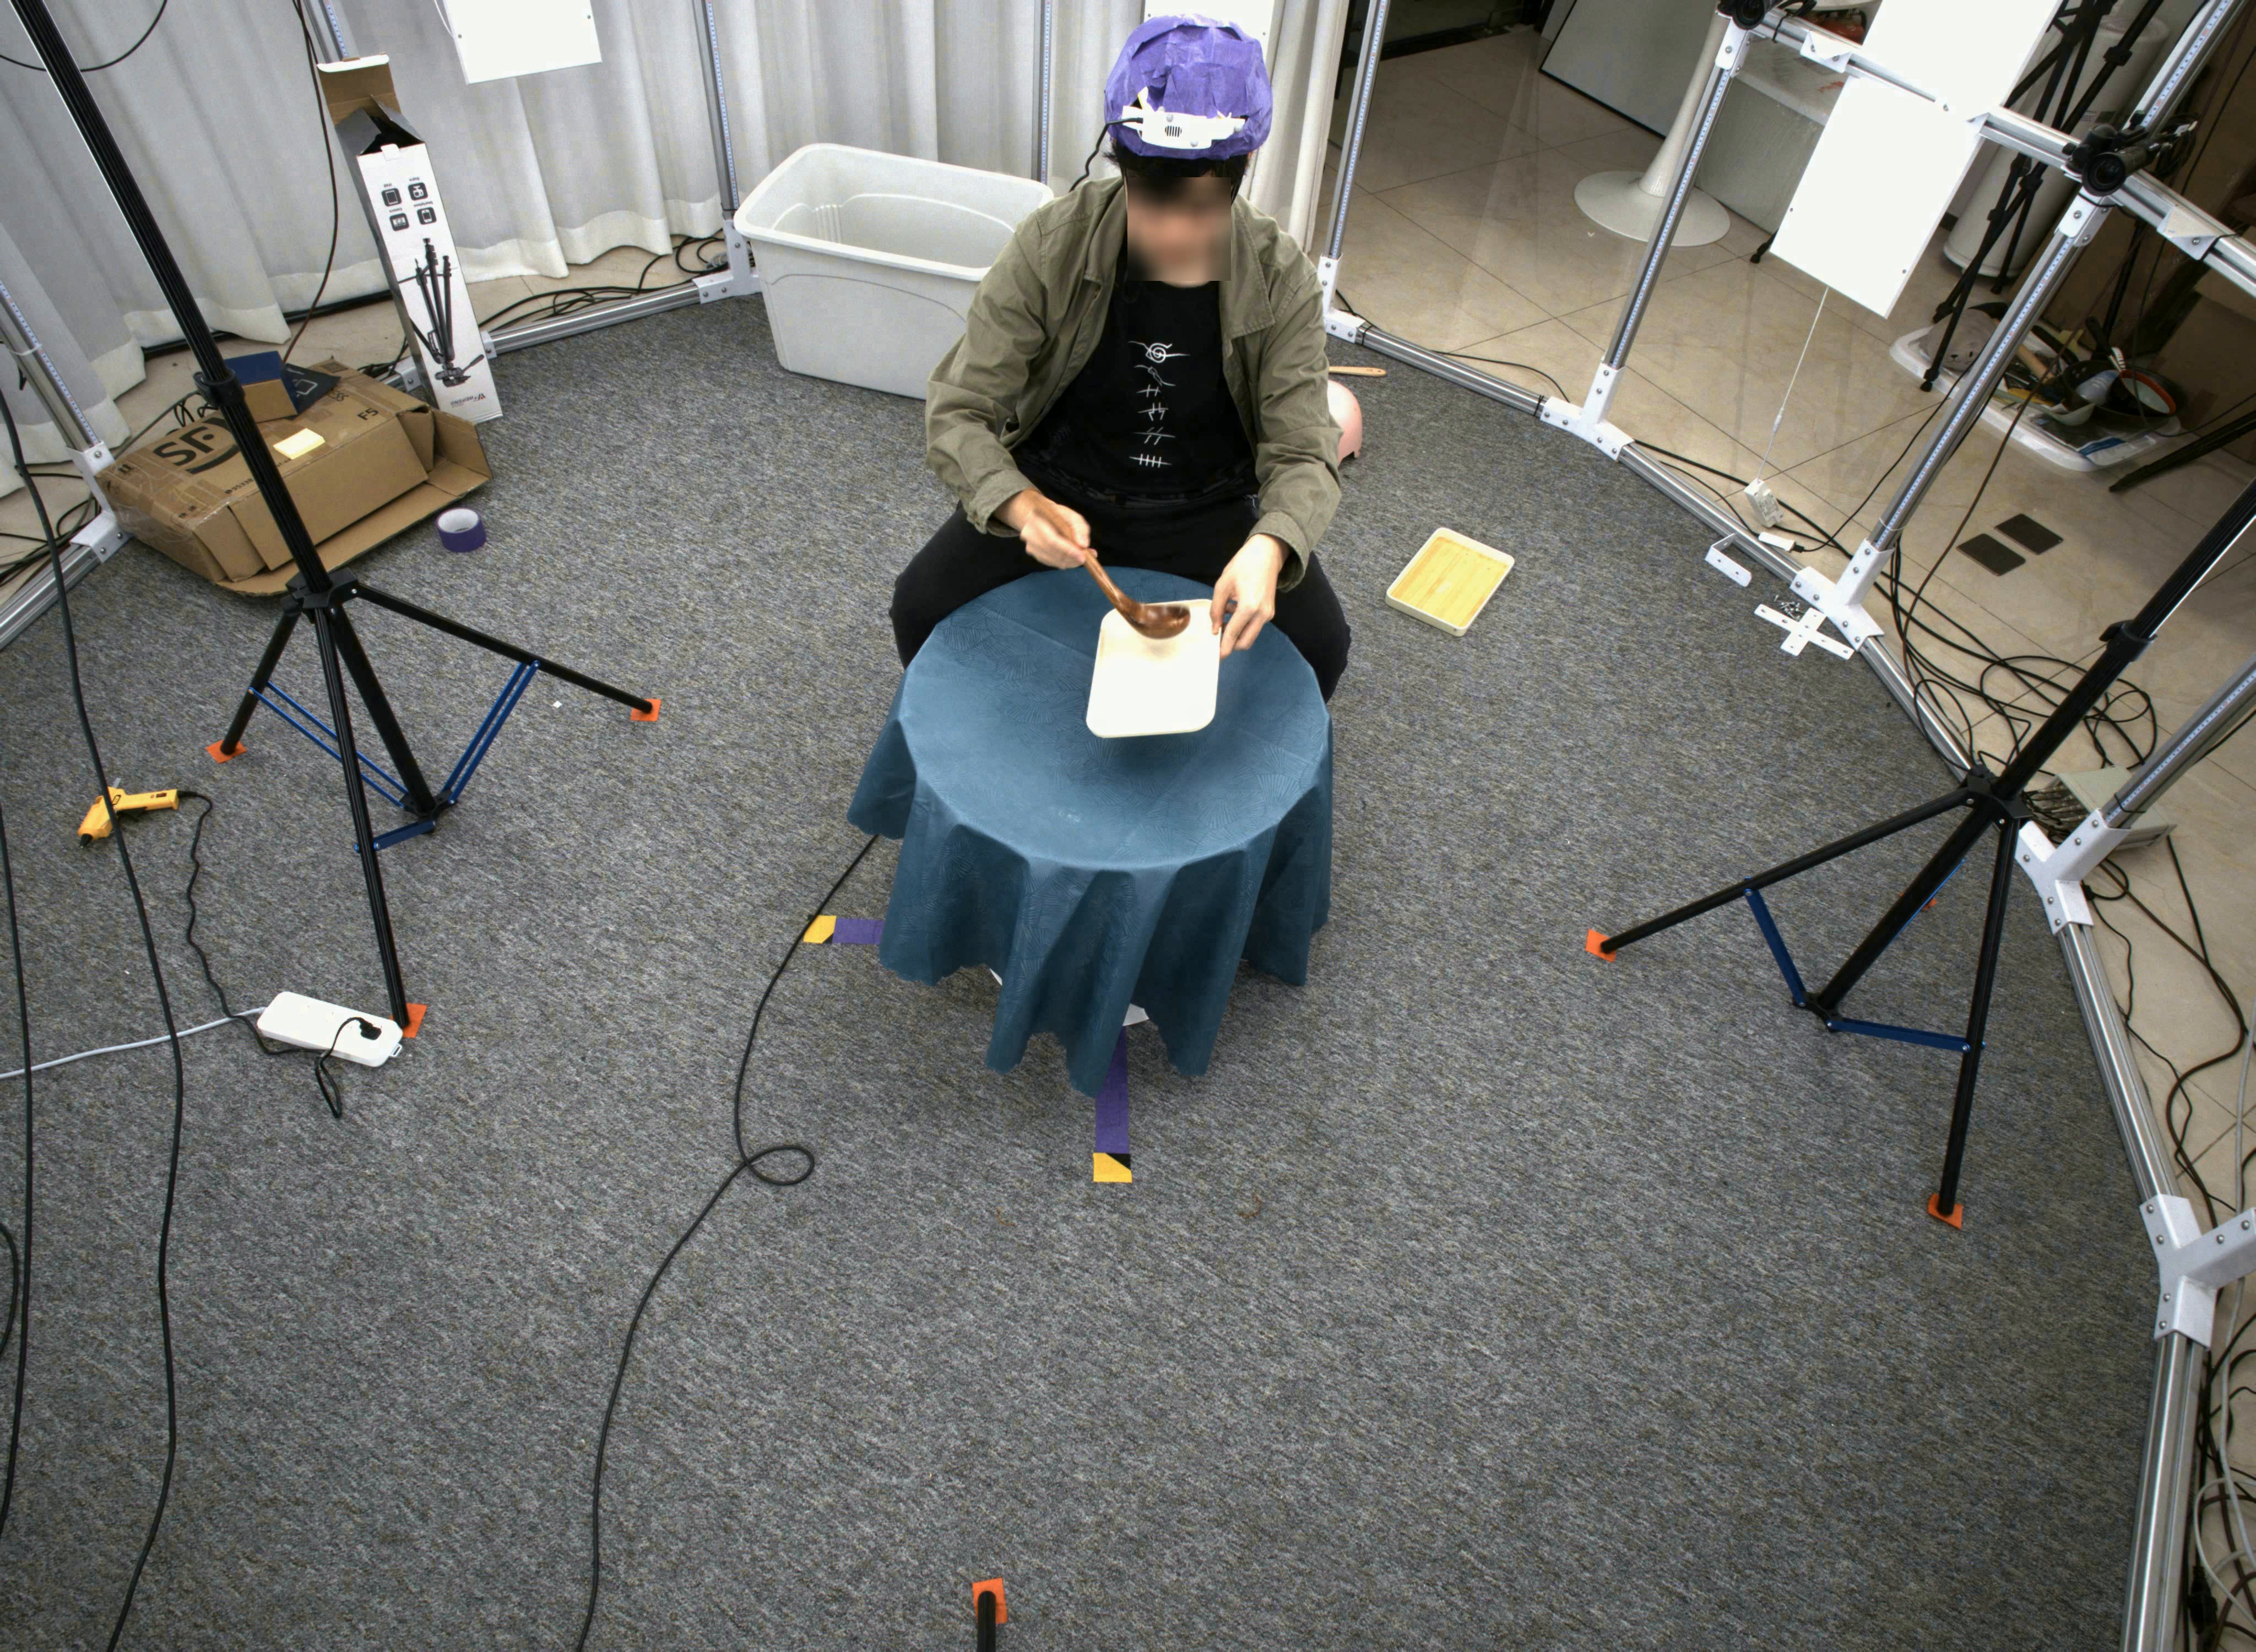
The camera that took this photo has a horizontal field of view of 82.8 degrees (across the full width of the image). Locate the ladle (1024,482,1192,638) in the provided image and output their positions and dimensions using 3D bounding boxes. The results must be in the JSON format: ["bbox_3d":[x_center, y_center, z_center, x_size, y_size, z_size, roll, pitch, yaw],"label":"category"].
[{"bbox_3d":[-0.022,-0.354,1.673,0.272,0.076,0.083,51,21,-7],"label":"ladle"}]

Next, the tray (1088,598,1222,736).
[{"bbox_3d":[0.039,-0.212,1.706,0.171,0.017,0.245,-3,50,12],"label":"tray"}]
